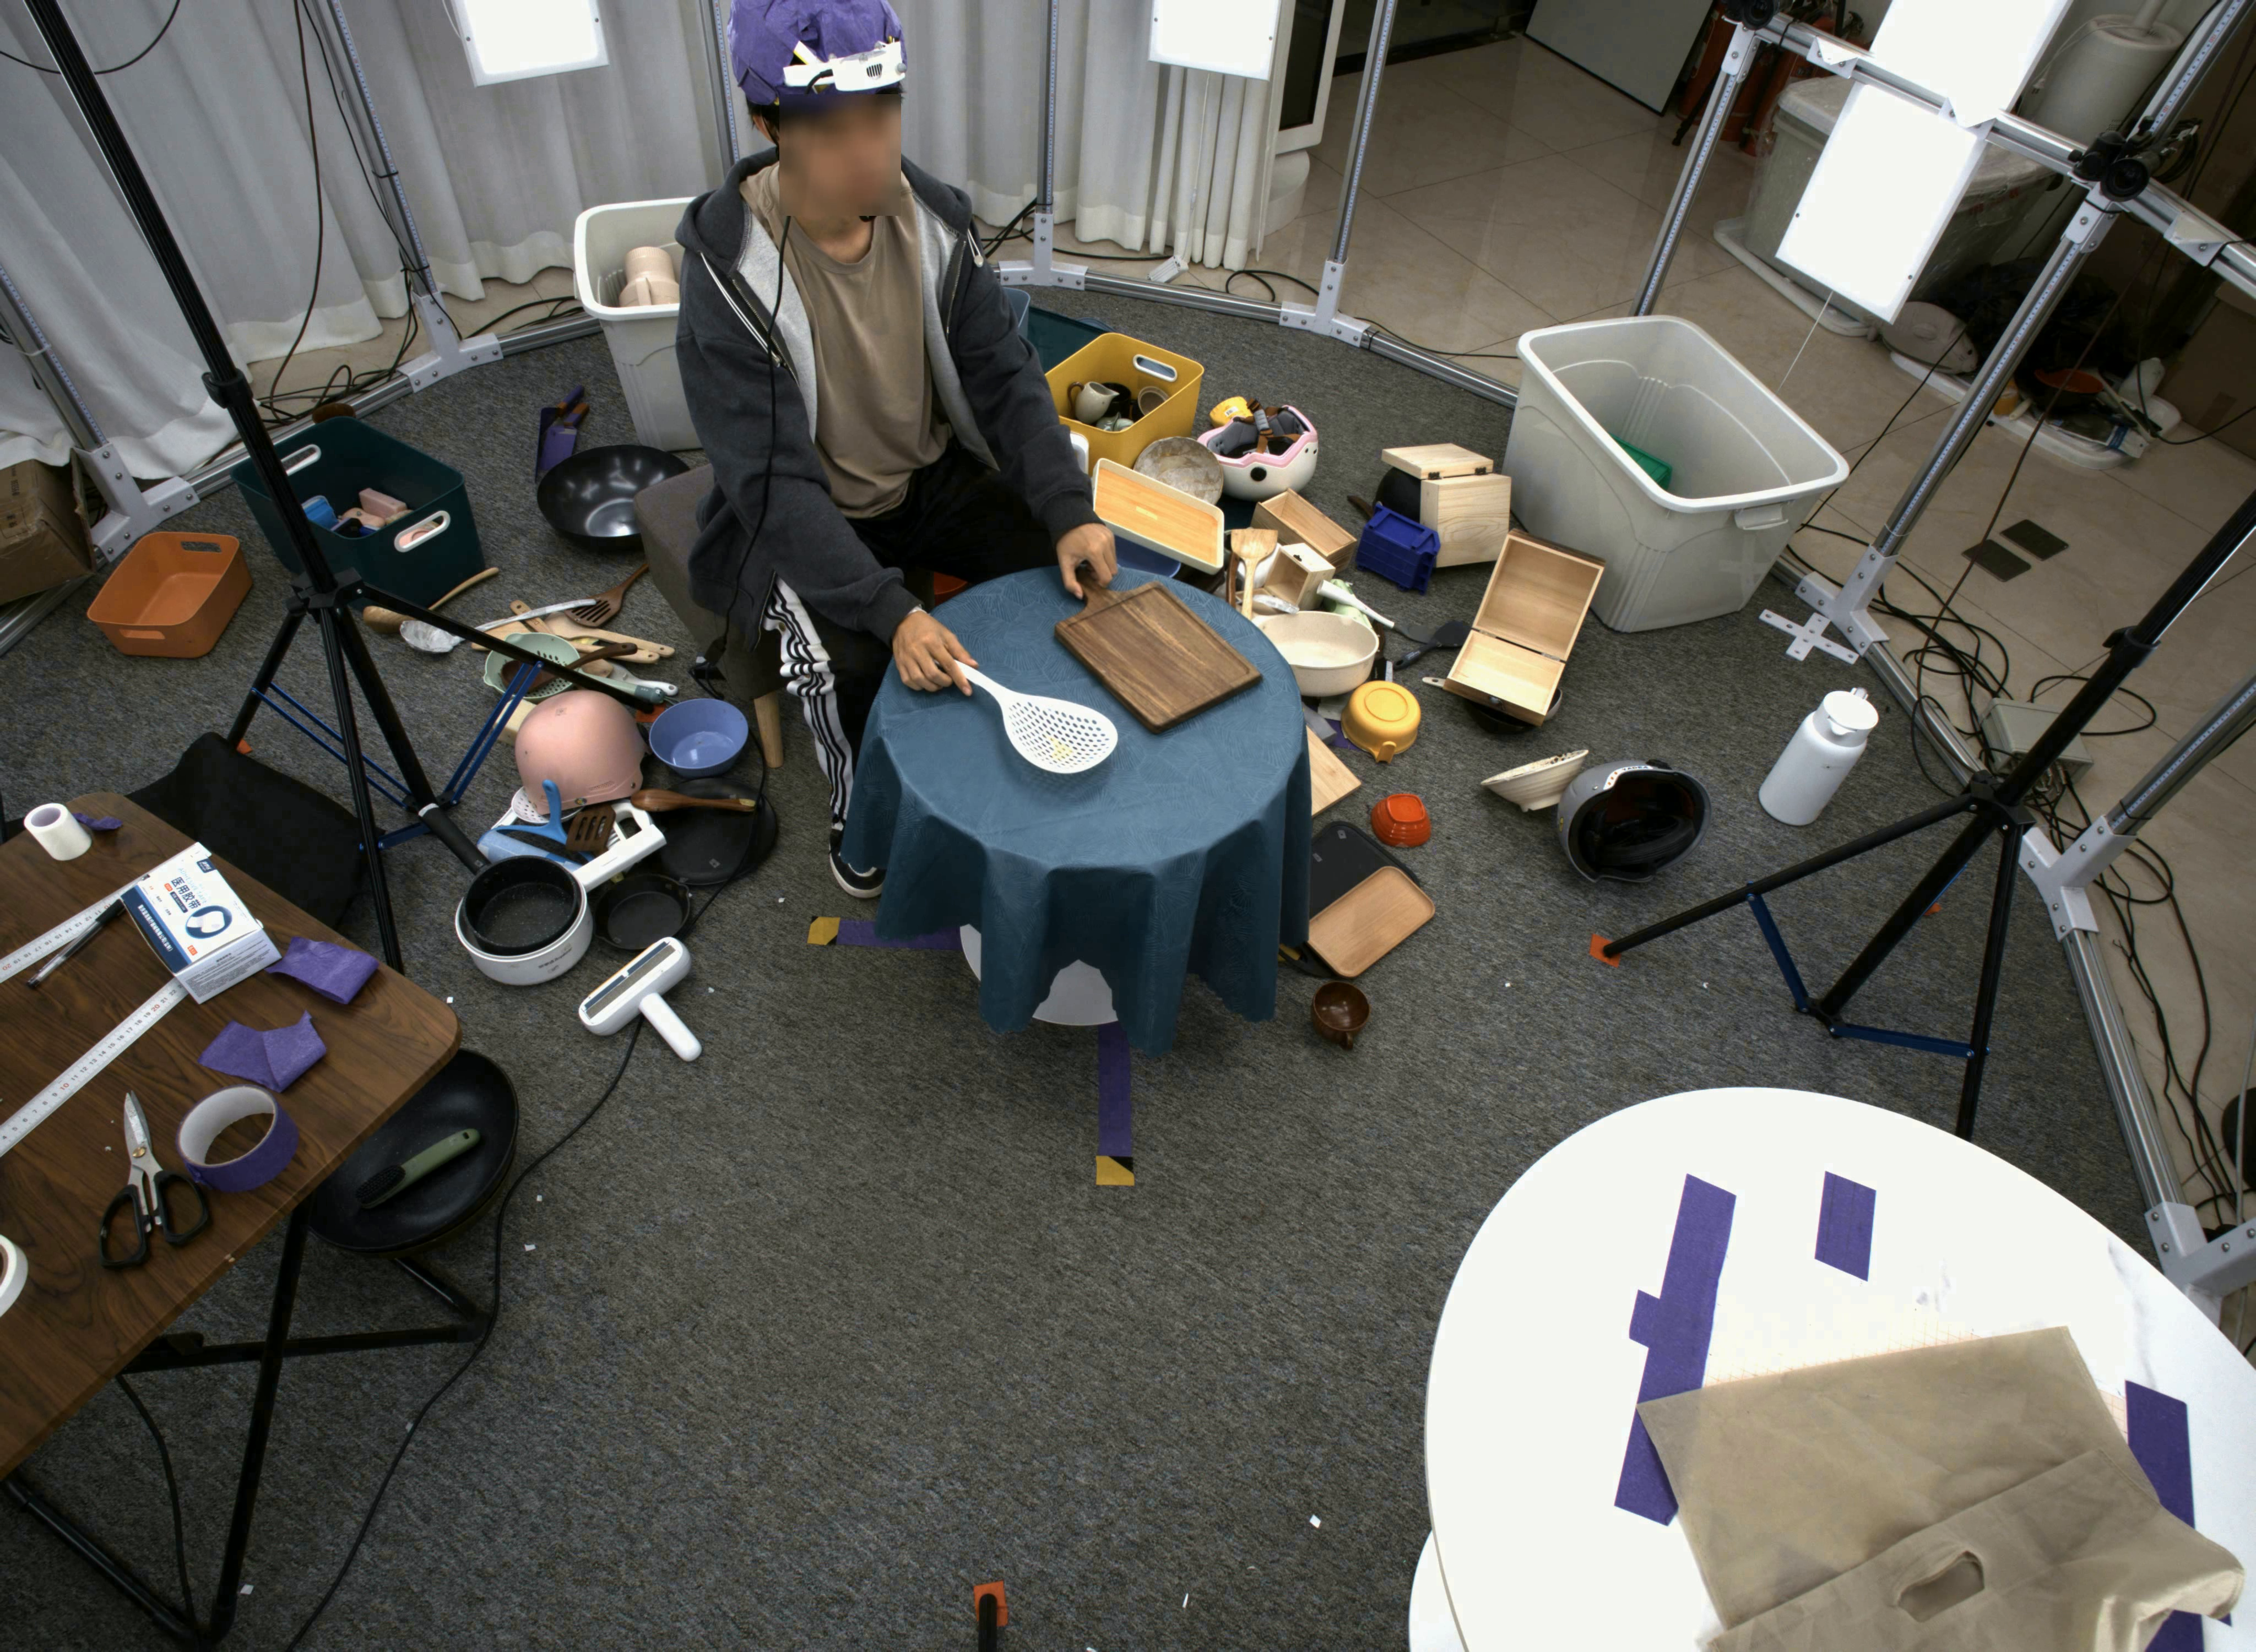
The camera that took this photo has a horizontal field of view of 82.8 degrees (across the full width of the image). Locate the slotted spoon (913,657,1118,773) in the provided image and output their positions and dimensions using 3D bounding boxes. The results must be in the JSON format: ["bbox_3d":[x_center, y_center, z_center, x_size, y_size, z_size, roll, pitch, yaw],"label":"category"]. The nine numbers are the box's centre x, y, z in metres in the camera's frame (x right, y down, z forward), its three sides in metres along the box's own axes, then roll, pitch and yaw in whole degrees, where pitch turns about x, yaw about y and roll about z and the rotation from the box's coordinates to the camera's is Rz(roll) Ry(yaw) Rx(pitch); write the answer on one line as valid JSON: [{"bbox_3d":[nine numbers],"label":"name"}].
[{"bbox_3d":[-0.167,-0.168,1.774,0.352,0.049,0.138,35,55,24],"label":"slotted spoon"}]

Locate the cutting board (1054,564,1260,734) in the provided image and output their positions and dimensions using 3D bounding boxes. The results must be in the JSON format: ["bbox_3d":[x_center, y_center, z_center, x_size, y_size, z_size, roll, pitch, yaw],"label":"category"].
[{"bbox_3d":[0.012,-0.284,1.901,0.202,0.022,0.359,-27,56,-26],"label":"cutting board"}]
